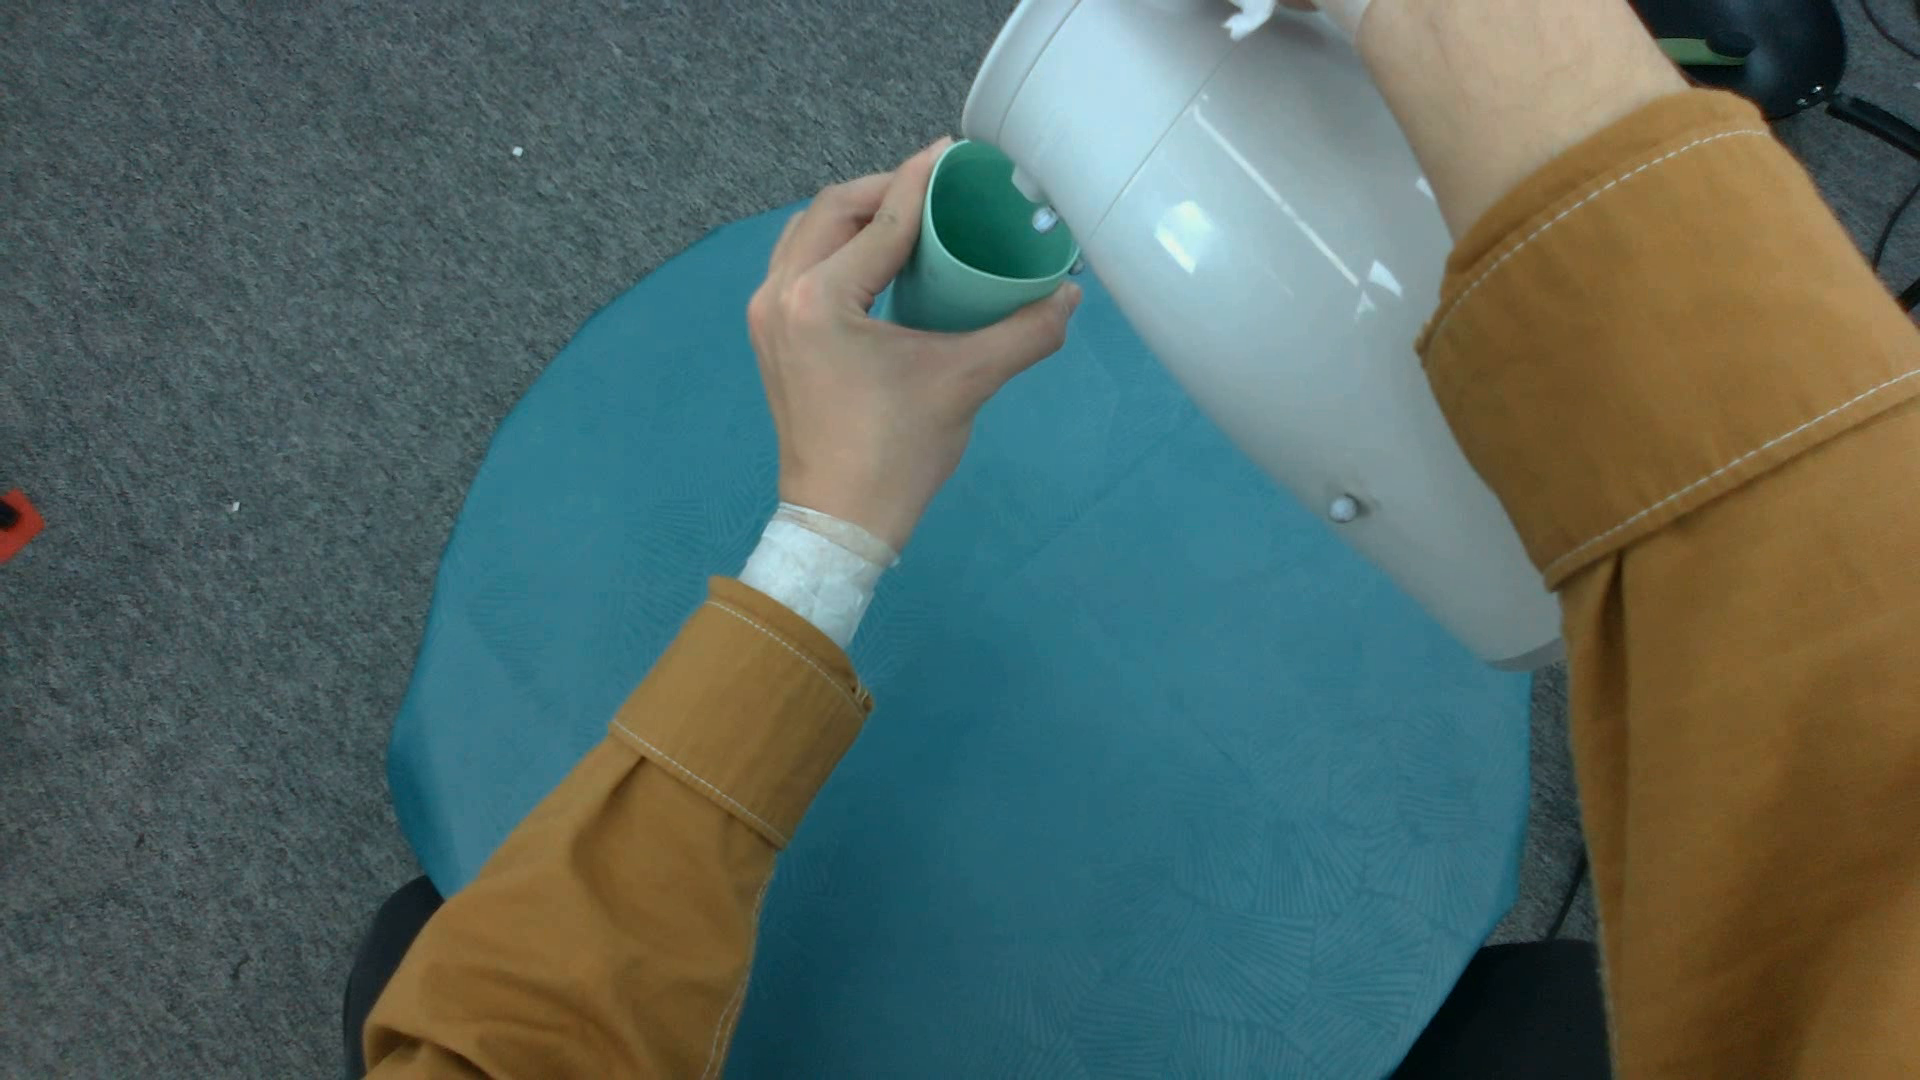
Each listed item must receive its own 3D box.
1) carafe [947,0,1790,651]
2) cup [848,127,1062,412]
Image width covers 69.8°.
[{"bbox_3d":[0.120,-0.102,0.424,0.248,0.167,0.133,41,60,2],"label":"carafe"},{"bbox_3d":[-0.007,-0.109,0.587,0.067,0.132,0.067,5,69,-14],"label":"cup"}]
